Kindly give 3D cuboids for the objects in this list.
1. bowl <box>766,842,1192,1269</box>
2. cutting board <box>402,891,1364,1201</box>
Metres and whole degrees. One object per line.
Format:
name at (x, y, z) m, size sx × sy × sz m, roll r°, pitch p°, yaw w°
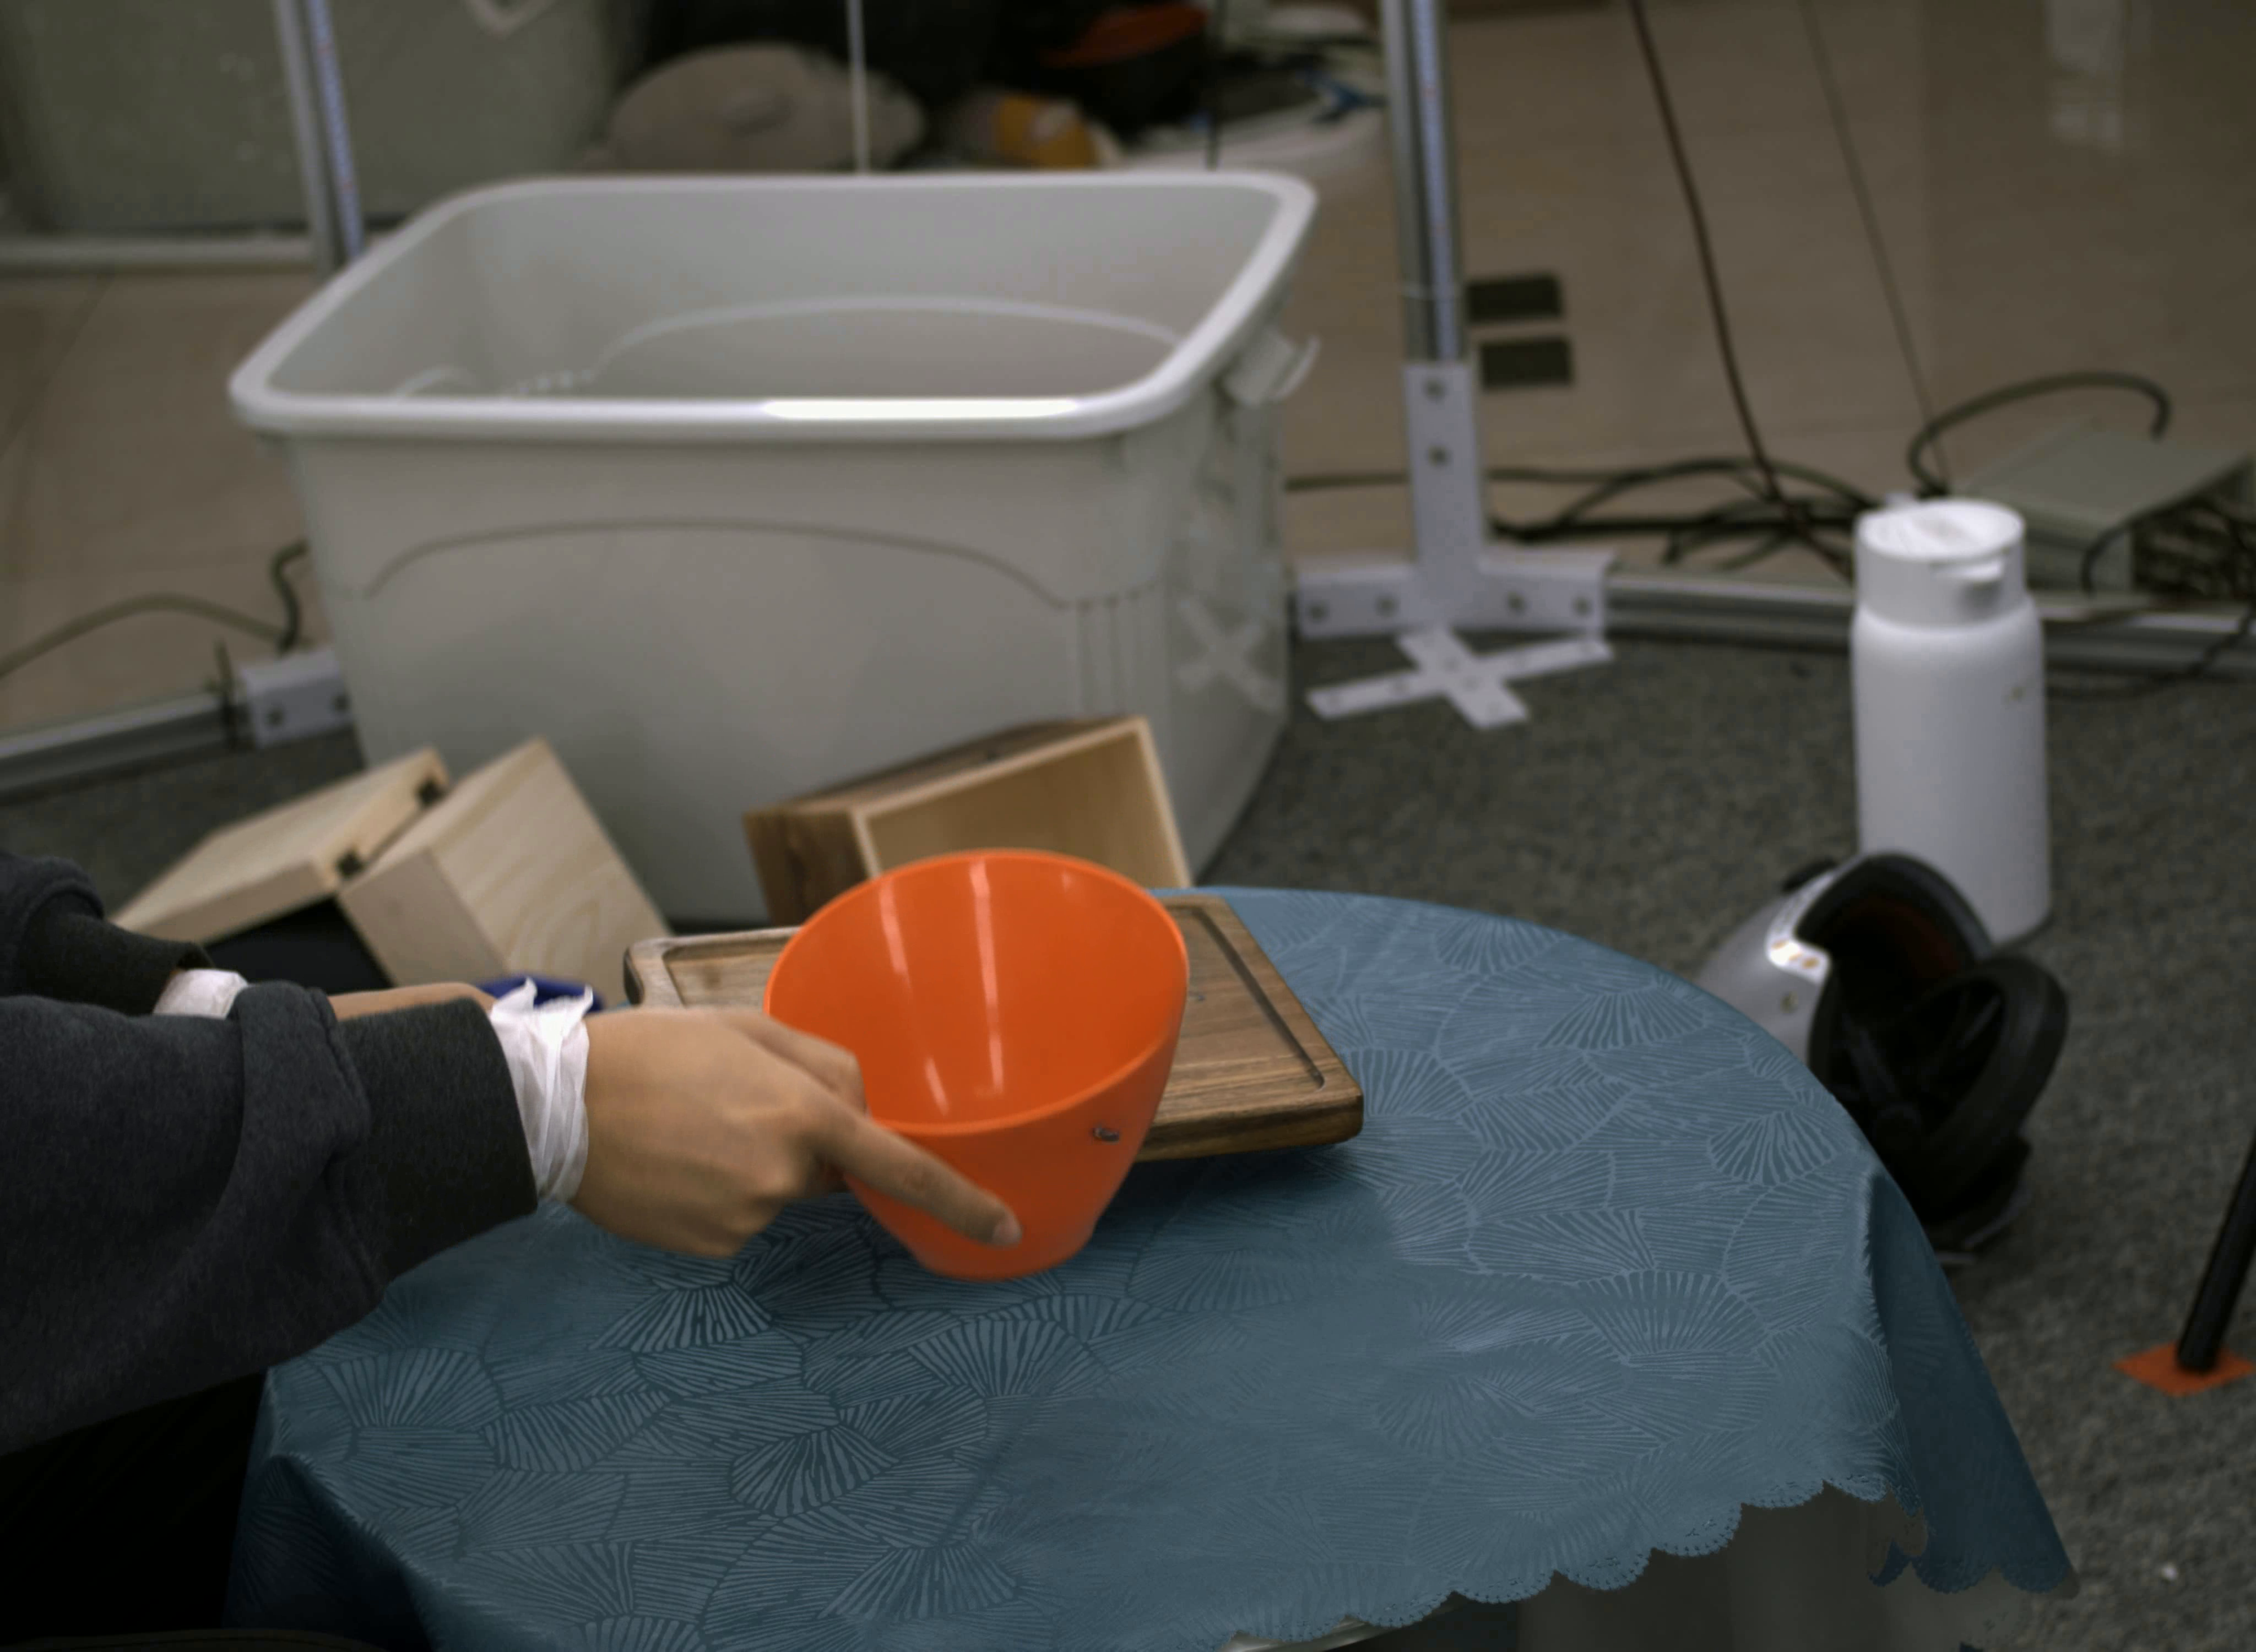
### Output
bowl at (-0.047, 0.086, 1.960) m, size 0.148 × 0.106 × 0.145 m, roll -5°, pitch 28°, yaw 3°
cutting board at (-0.104, 0.085, 2.172) m, size 0.351 × 0.023 × 0.198 m, roll -5°, pitch 25°, yaw -15°
